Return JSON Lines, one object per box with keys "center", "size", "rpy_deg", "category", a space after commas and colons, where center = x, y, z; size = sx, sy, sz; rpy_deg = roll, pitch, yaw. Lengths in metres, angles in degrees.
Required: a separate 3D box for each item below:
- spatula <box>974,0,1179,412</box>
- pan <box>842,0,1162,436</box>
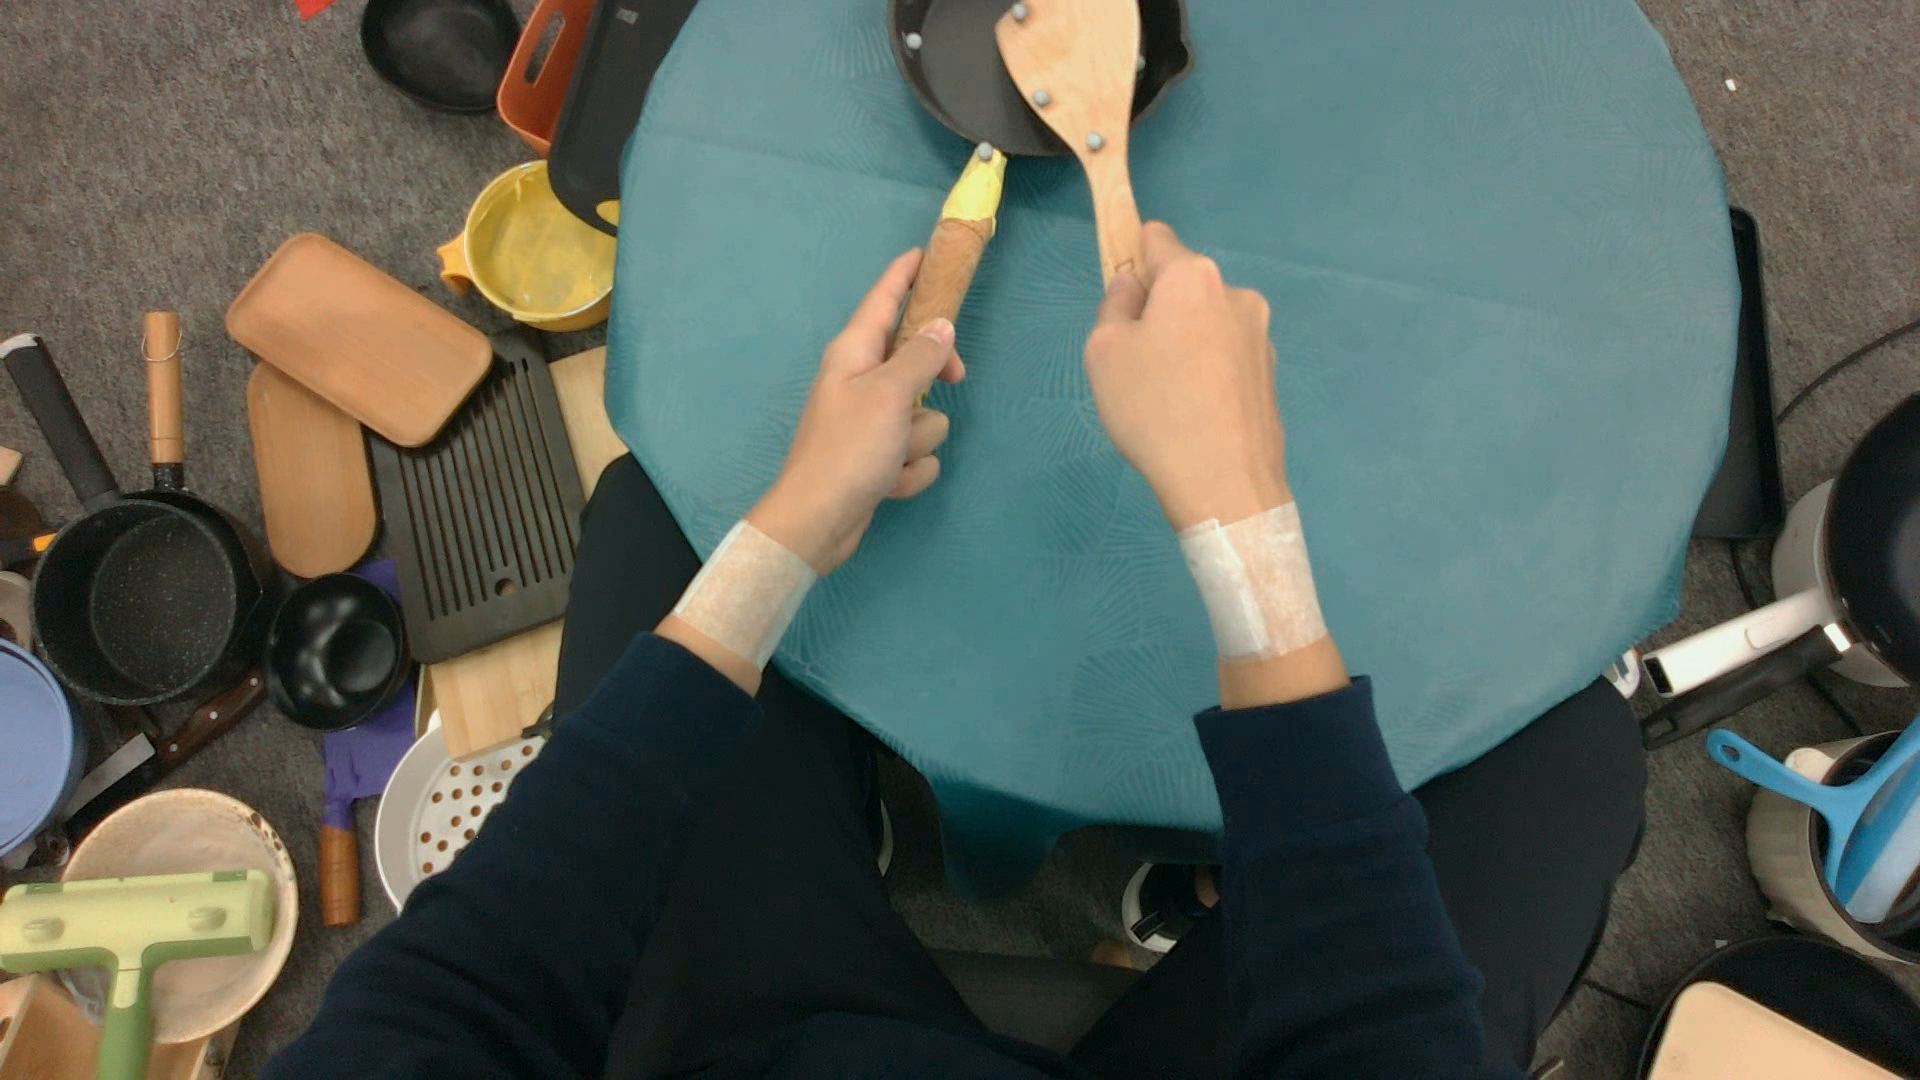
{"center": [0.058, -0.182, 0.653], "size": [0.080, 0.016, 0.329], "rpy_deg": [-25, 48, 20], "category": "spatula"}
{"center": [-0.002, -0.198, 0.710], "size": [0.169, 0.049, 0.325], "rpy_deg": [18, 75, 3], "category": "pan"}
